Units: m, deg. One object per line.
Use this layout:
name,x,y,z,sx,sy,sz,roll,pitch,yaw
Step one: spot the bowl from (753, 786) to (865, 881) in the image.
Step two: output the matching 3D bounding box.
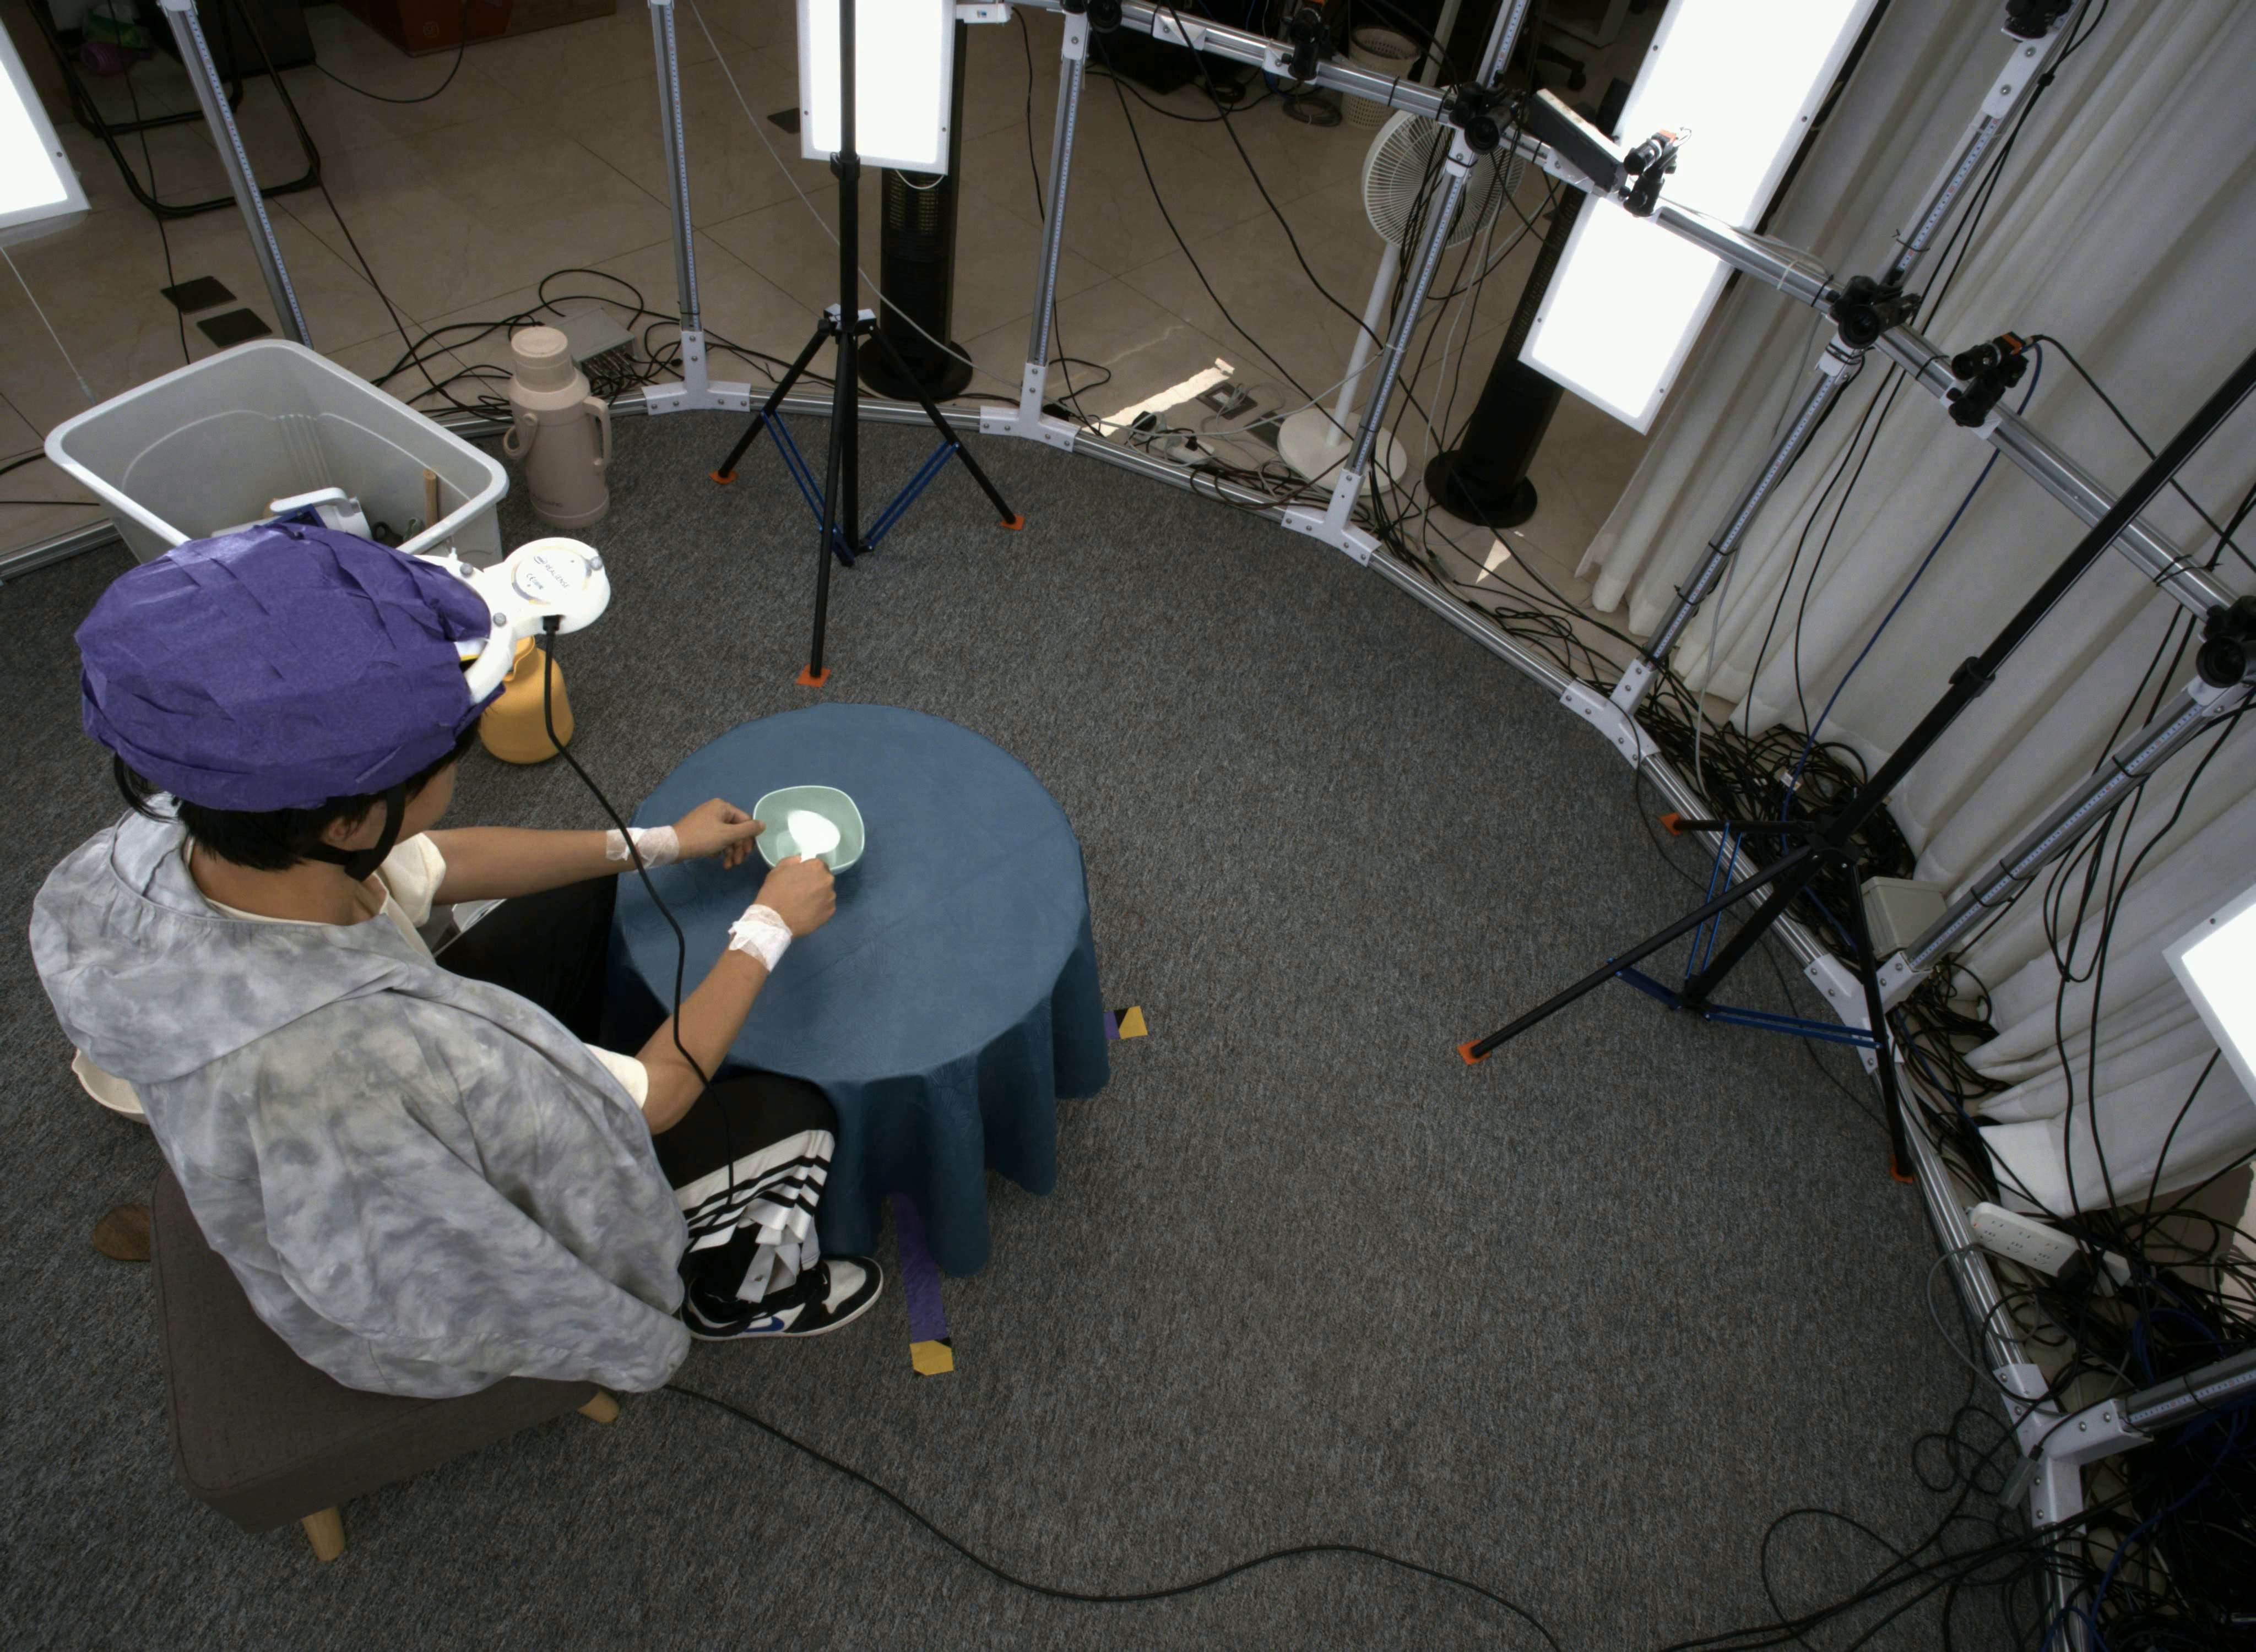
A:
bowl,-0.414,0.019,1.673,0.152,0.059,0.148,13,50,-14

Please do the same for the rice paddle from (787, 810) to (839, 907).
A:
rice paddle,-0.393,0.030,1.593,0.070,0.030,0.200,25,23,-20
